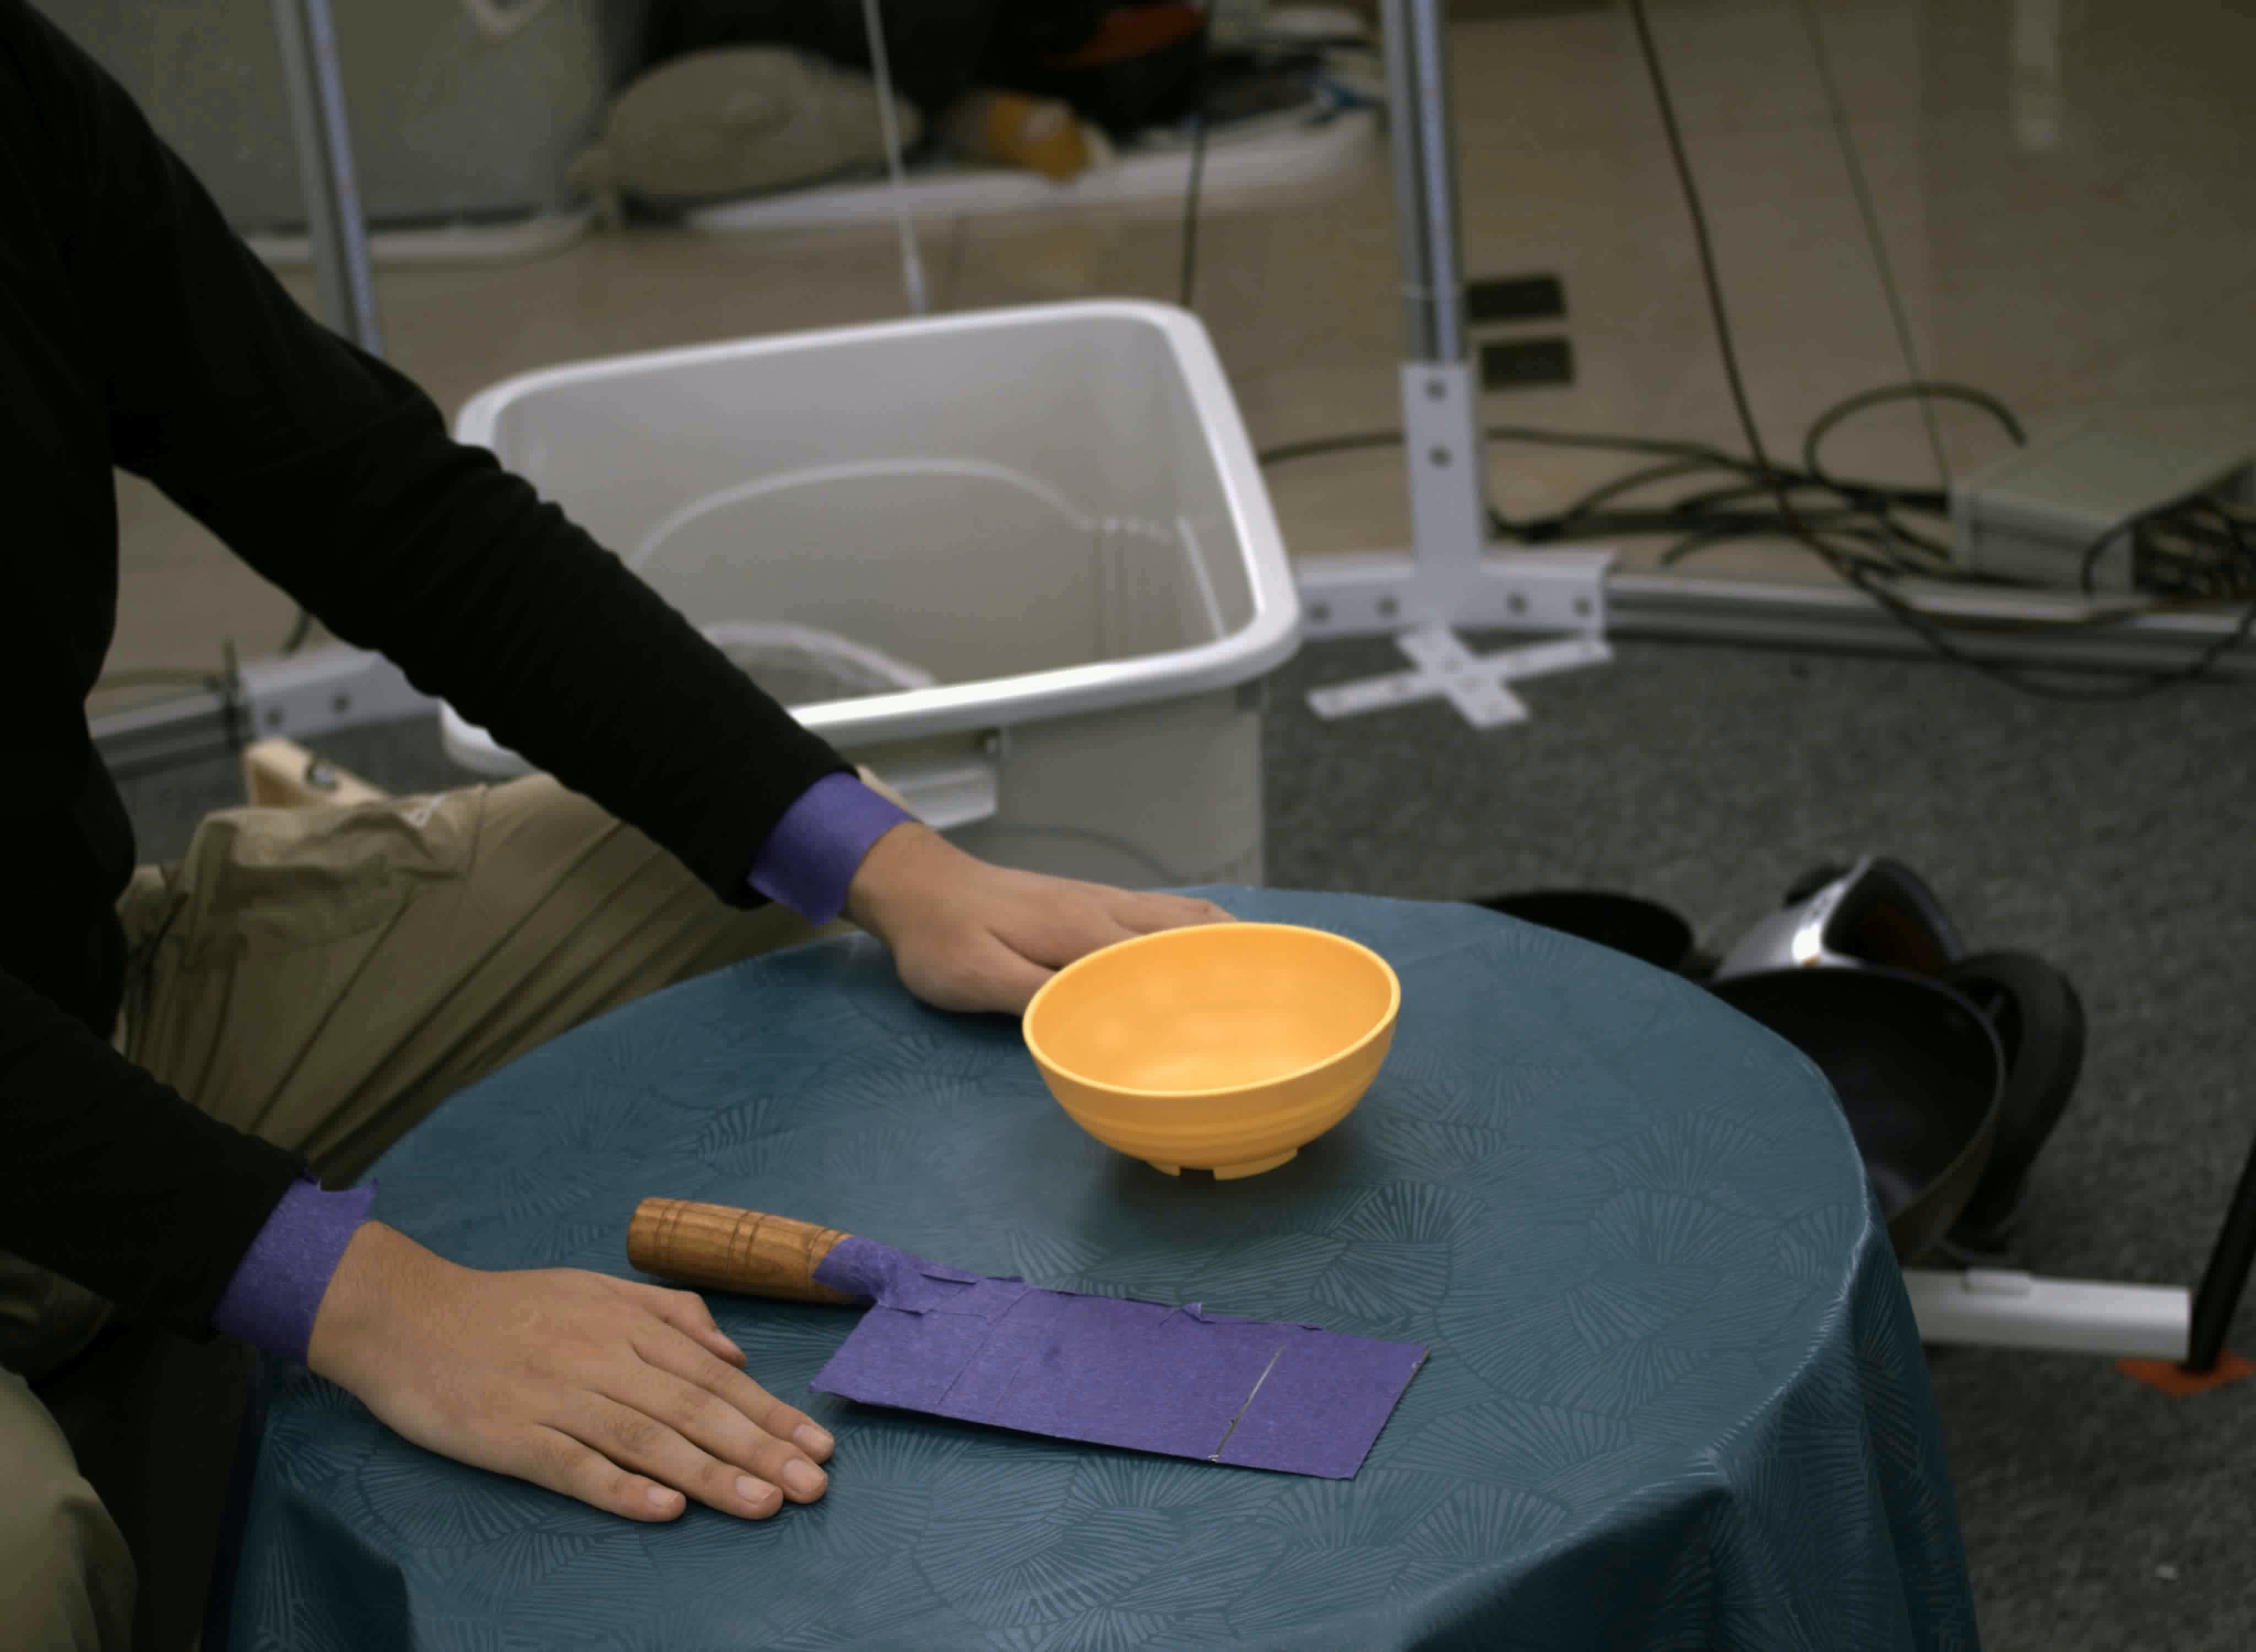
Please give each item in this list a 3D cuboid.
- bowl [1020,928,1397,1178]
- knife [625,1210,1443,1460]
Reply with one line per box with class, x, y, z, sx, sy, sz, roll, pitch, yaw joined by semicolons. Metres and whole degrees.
bowl;0.032;0.094;2.166;0.145;0.061;0.143;-4;24;2
knife;-0.049;0.182;2.038;0.314;0.033;0.102;5;27;21
